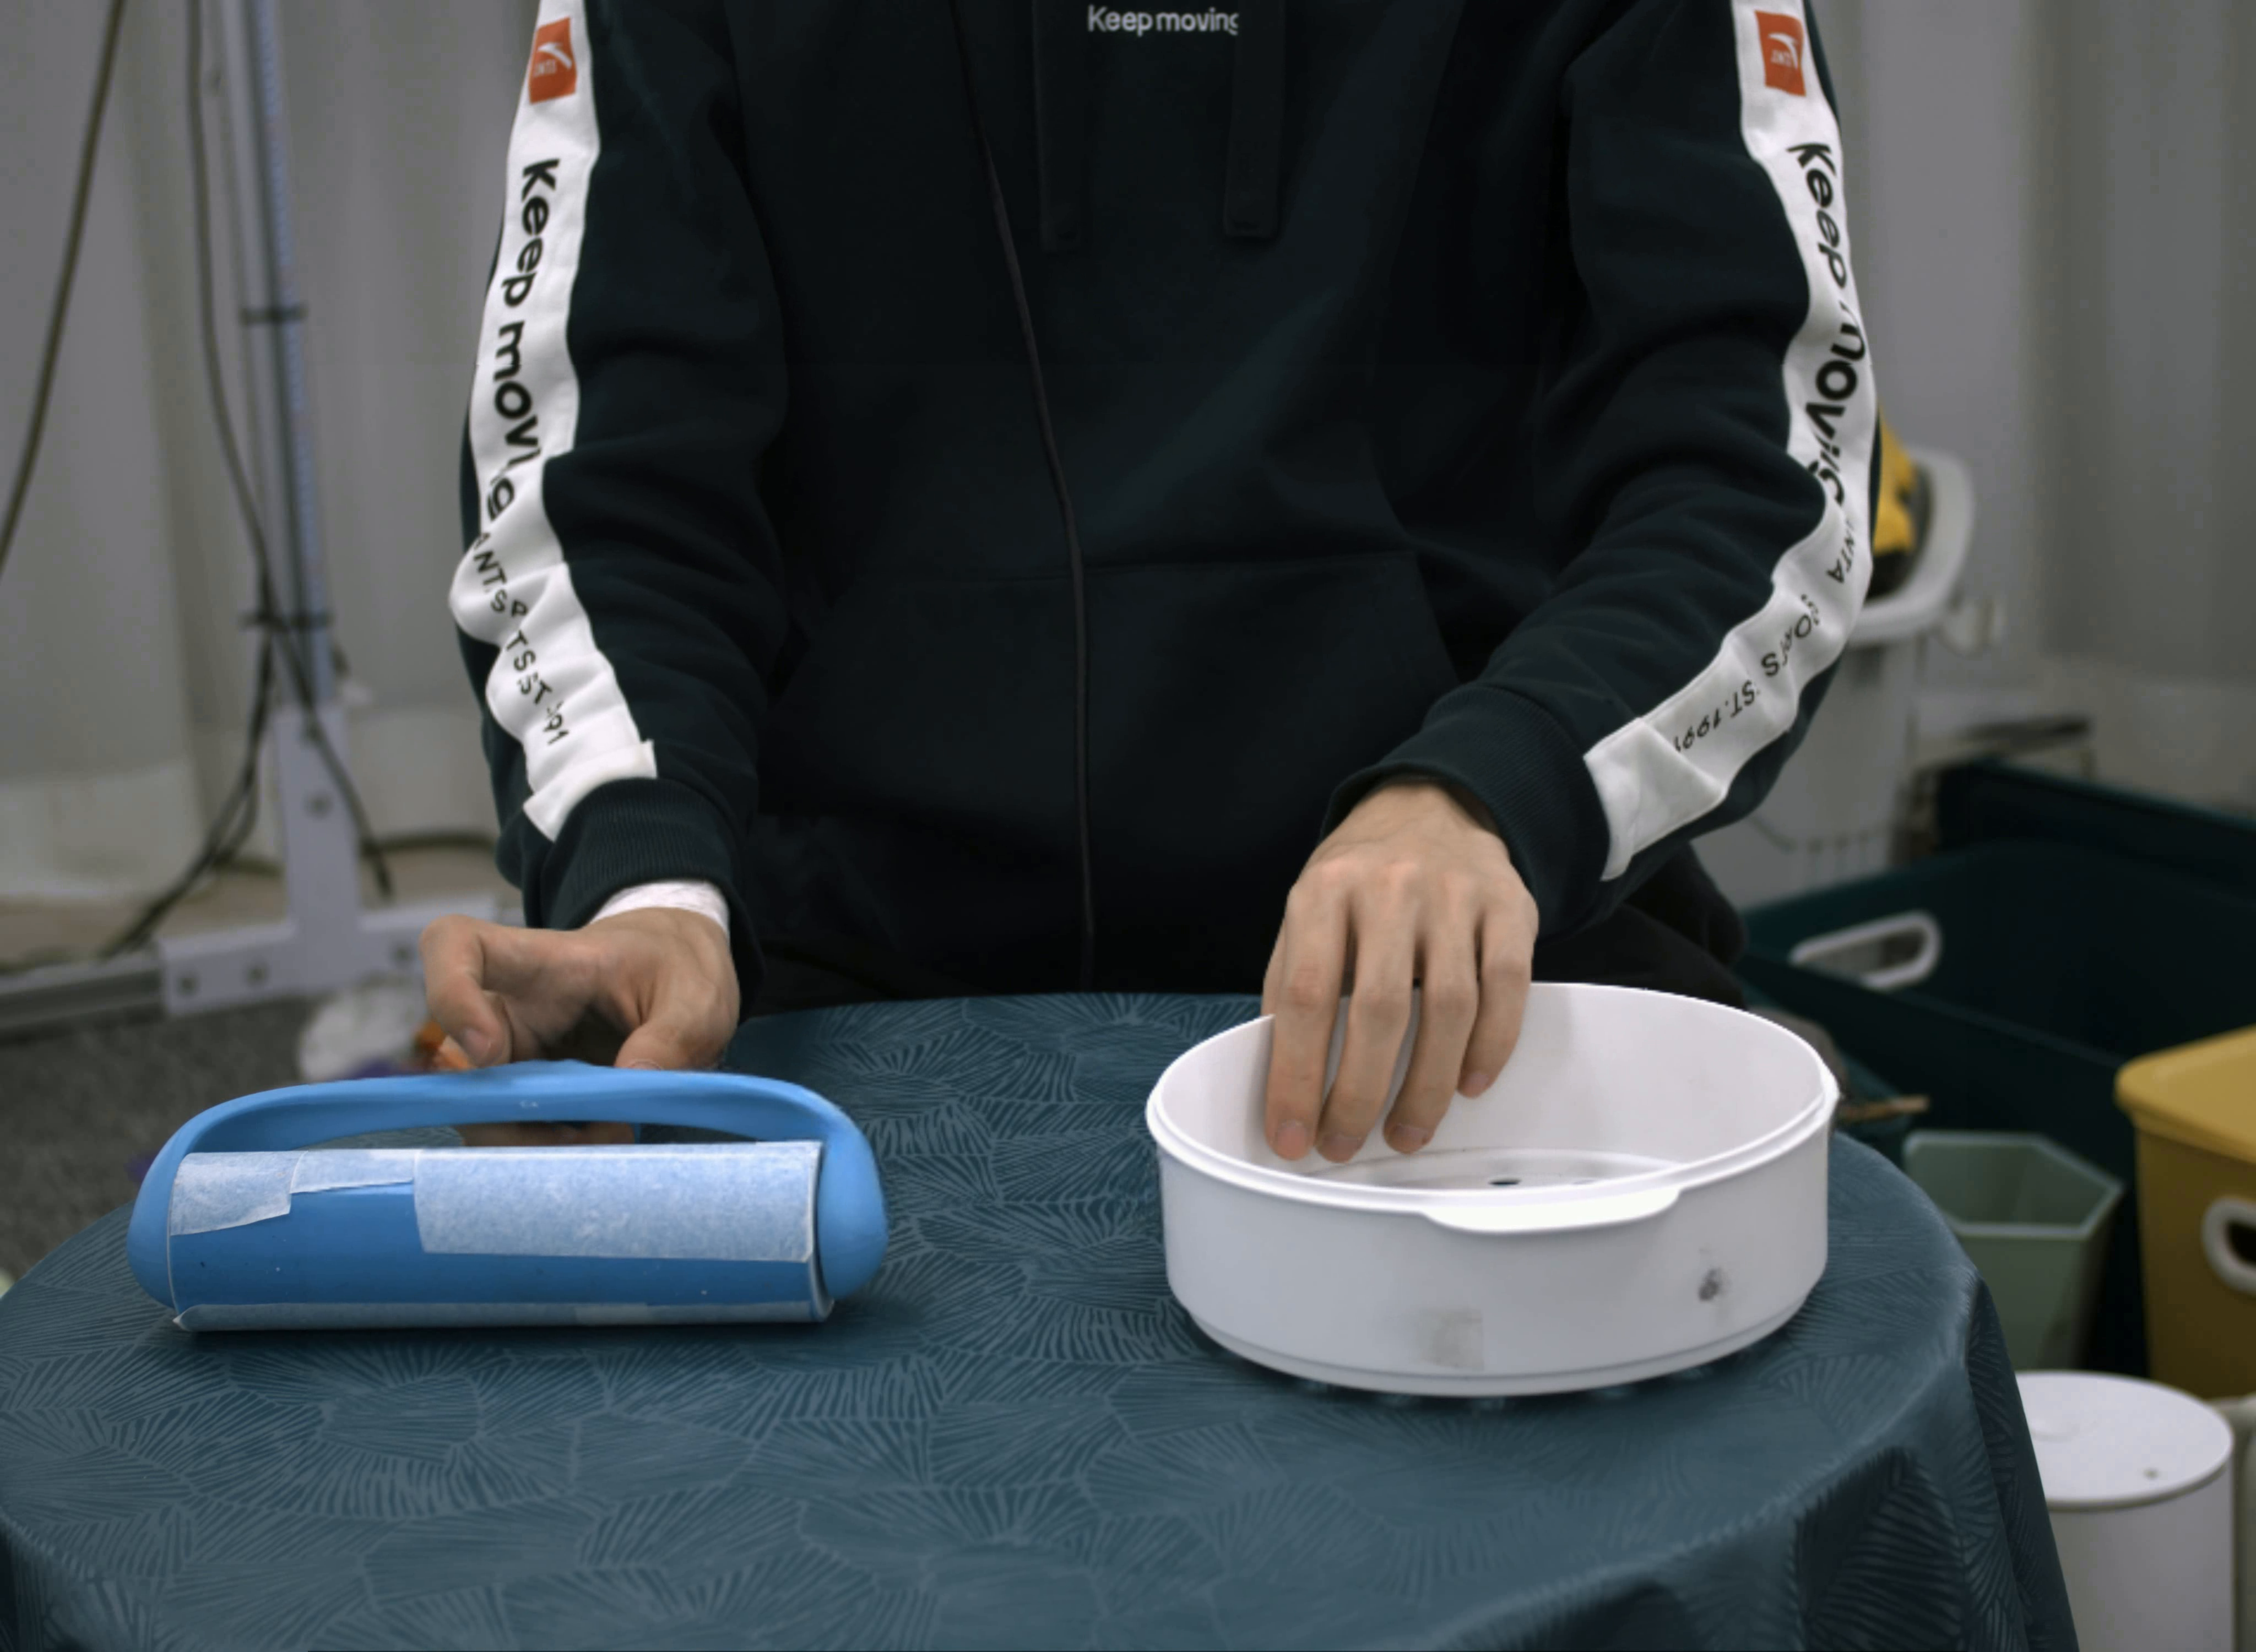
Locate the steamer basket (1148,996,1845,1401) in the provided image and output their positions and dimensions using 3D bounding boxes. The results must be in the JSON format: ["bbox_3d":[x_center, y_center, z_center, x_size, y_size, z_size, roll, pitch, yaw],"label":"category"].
[{"bbox_3d":[0.107,0.107,1.589,0.201,0.069,0.232,-4,14,-6],"label":"steamer basket"}]

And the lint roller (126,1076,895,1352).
[{"bbox_3d":[-0.182,0.107,1.674,0.228,0.067,0.181,-5,16,2],"label":"lint roller"}]
